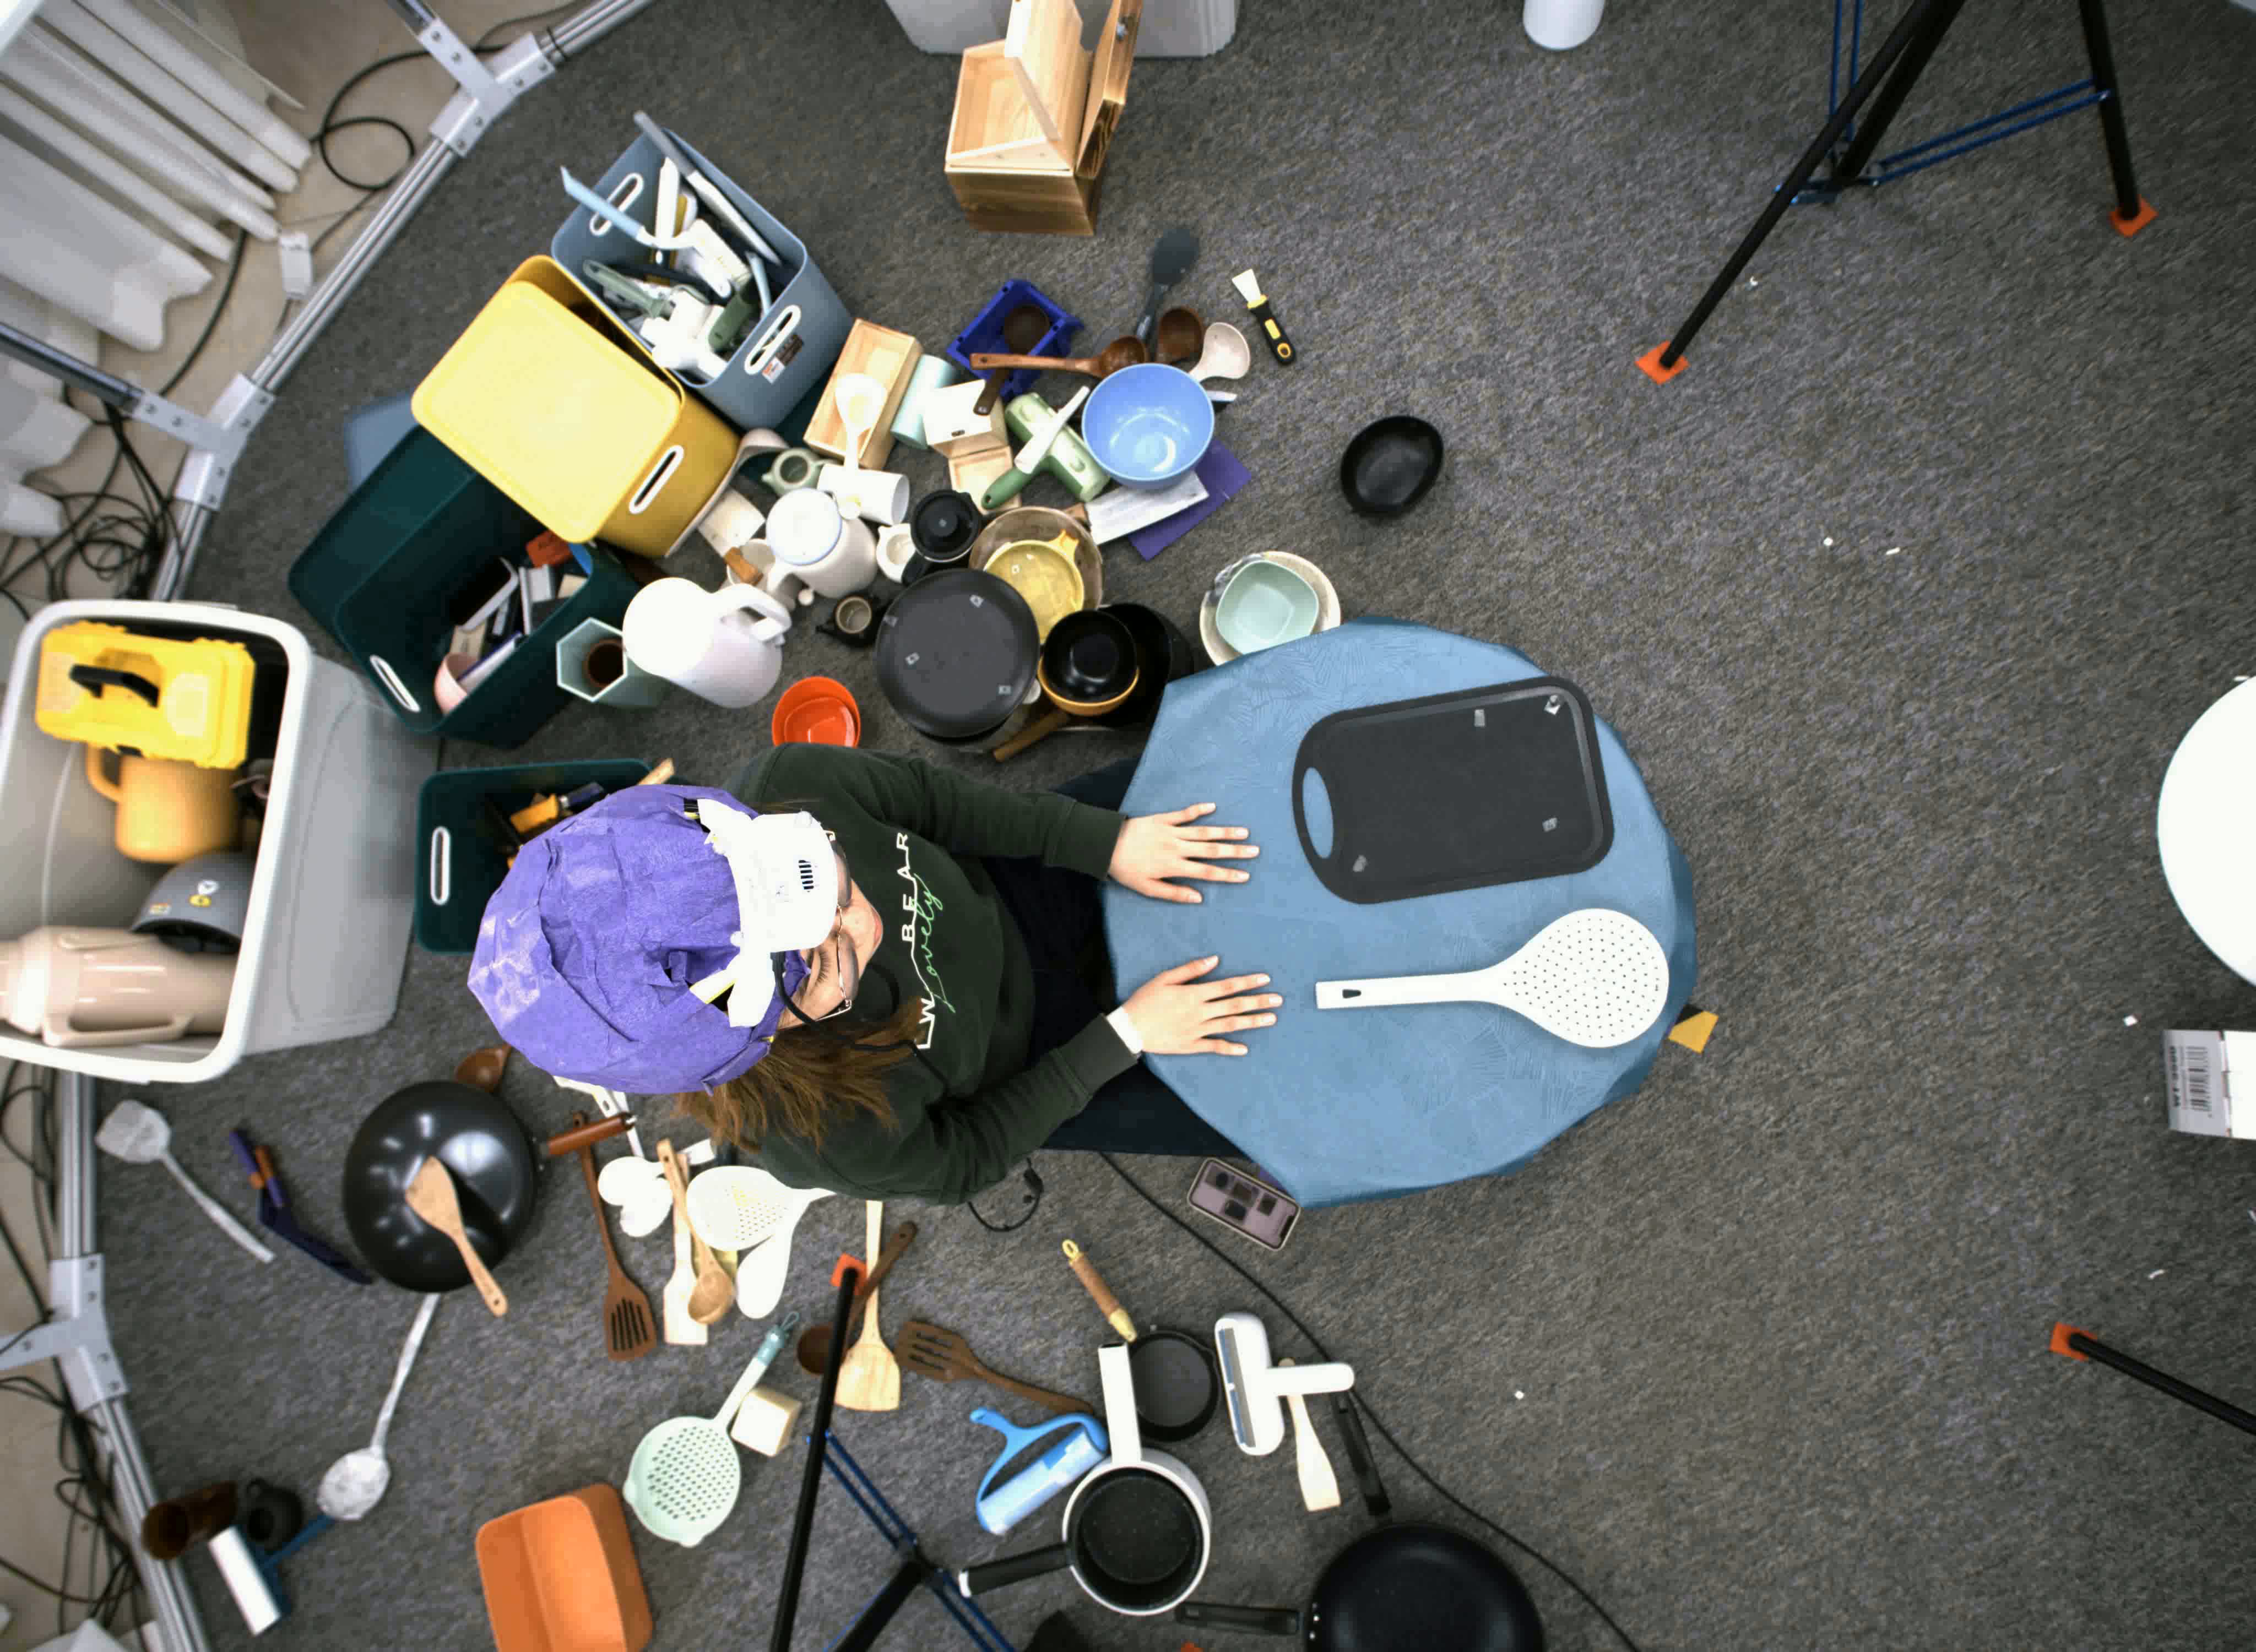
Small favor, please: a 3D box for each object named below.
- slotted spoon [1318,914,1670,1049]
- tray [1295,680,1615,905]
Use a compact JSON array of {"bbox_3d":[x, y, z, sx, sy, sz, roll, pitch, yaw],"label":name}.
[{"bbox_3d":[0.371,0.164,1.417,0.351,0.046,0.135,-5,83,11],"label":"slotted spoon"},{"bbox_3d":[0.340,-0.035,1.456,0.327,0.010,0.210,-9,84,10],"label":"tray"}]
